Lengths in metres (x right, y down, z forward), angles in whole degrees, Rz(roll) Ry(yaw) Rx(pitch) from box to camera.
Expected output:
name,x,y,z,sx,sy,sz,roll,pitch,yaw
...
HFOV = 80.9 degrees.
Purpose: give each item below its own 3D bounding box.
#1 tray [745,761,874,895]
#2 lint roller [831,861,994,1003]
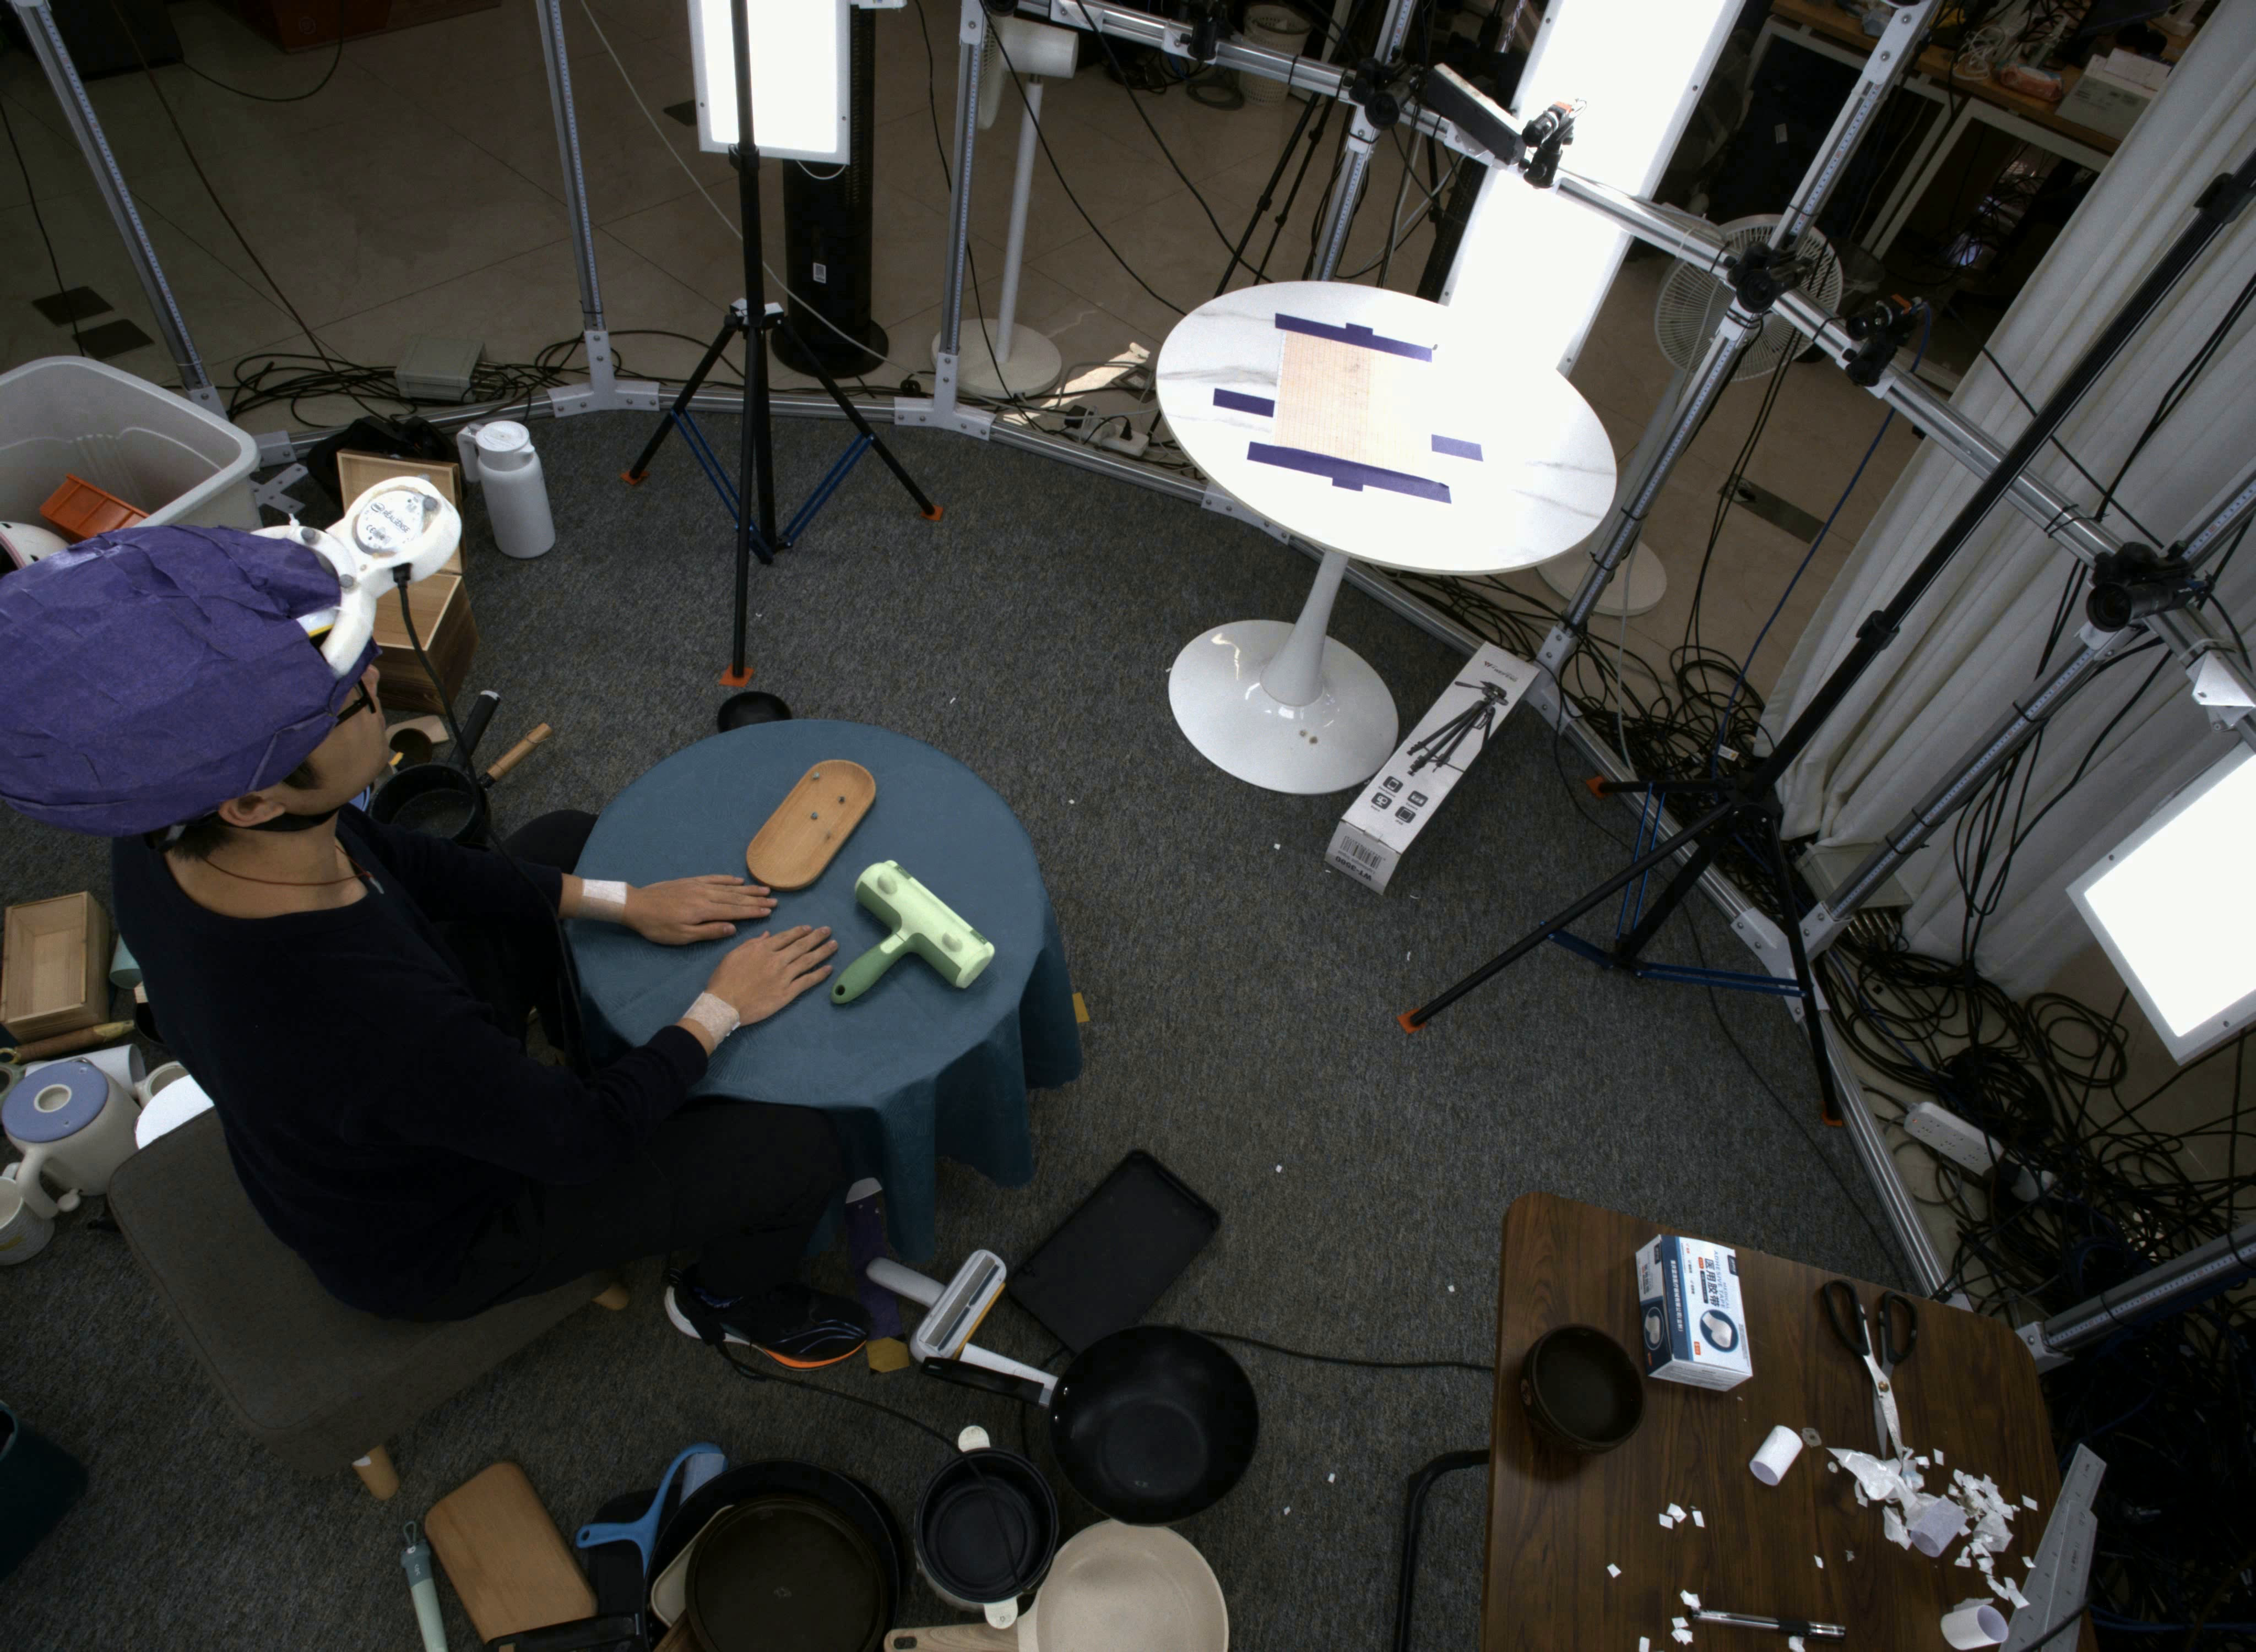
name,x,y,z,sx,sy,sz,roll,pitch,yaw
tray,-0.416,-0.001,1.706,0.100,0.021,0.229,24,53,4
lint roller,-0.291,0.141,1.587,0.194,0.084,0.183,37,48,15
